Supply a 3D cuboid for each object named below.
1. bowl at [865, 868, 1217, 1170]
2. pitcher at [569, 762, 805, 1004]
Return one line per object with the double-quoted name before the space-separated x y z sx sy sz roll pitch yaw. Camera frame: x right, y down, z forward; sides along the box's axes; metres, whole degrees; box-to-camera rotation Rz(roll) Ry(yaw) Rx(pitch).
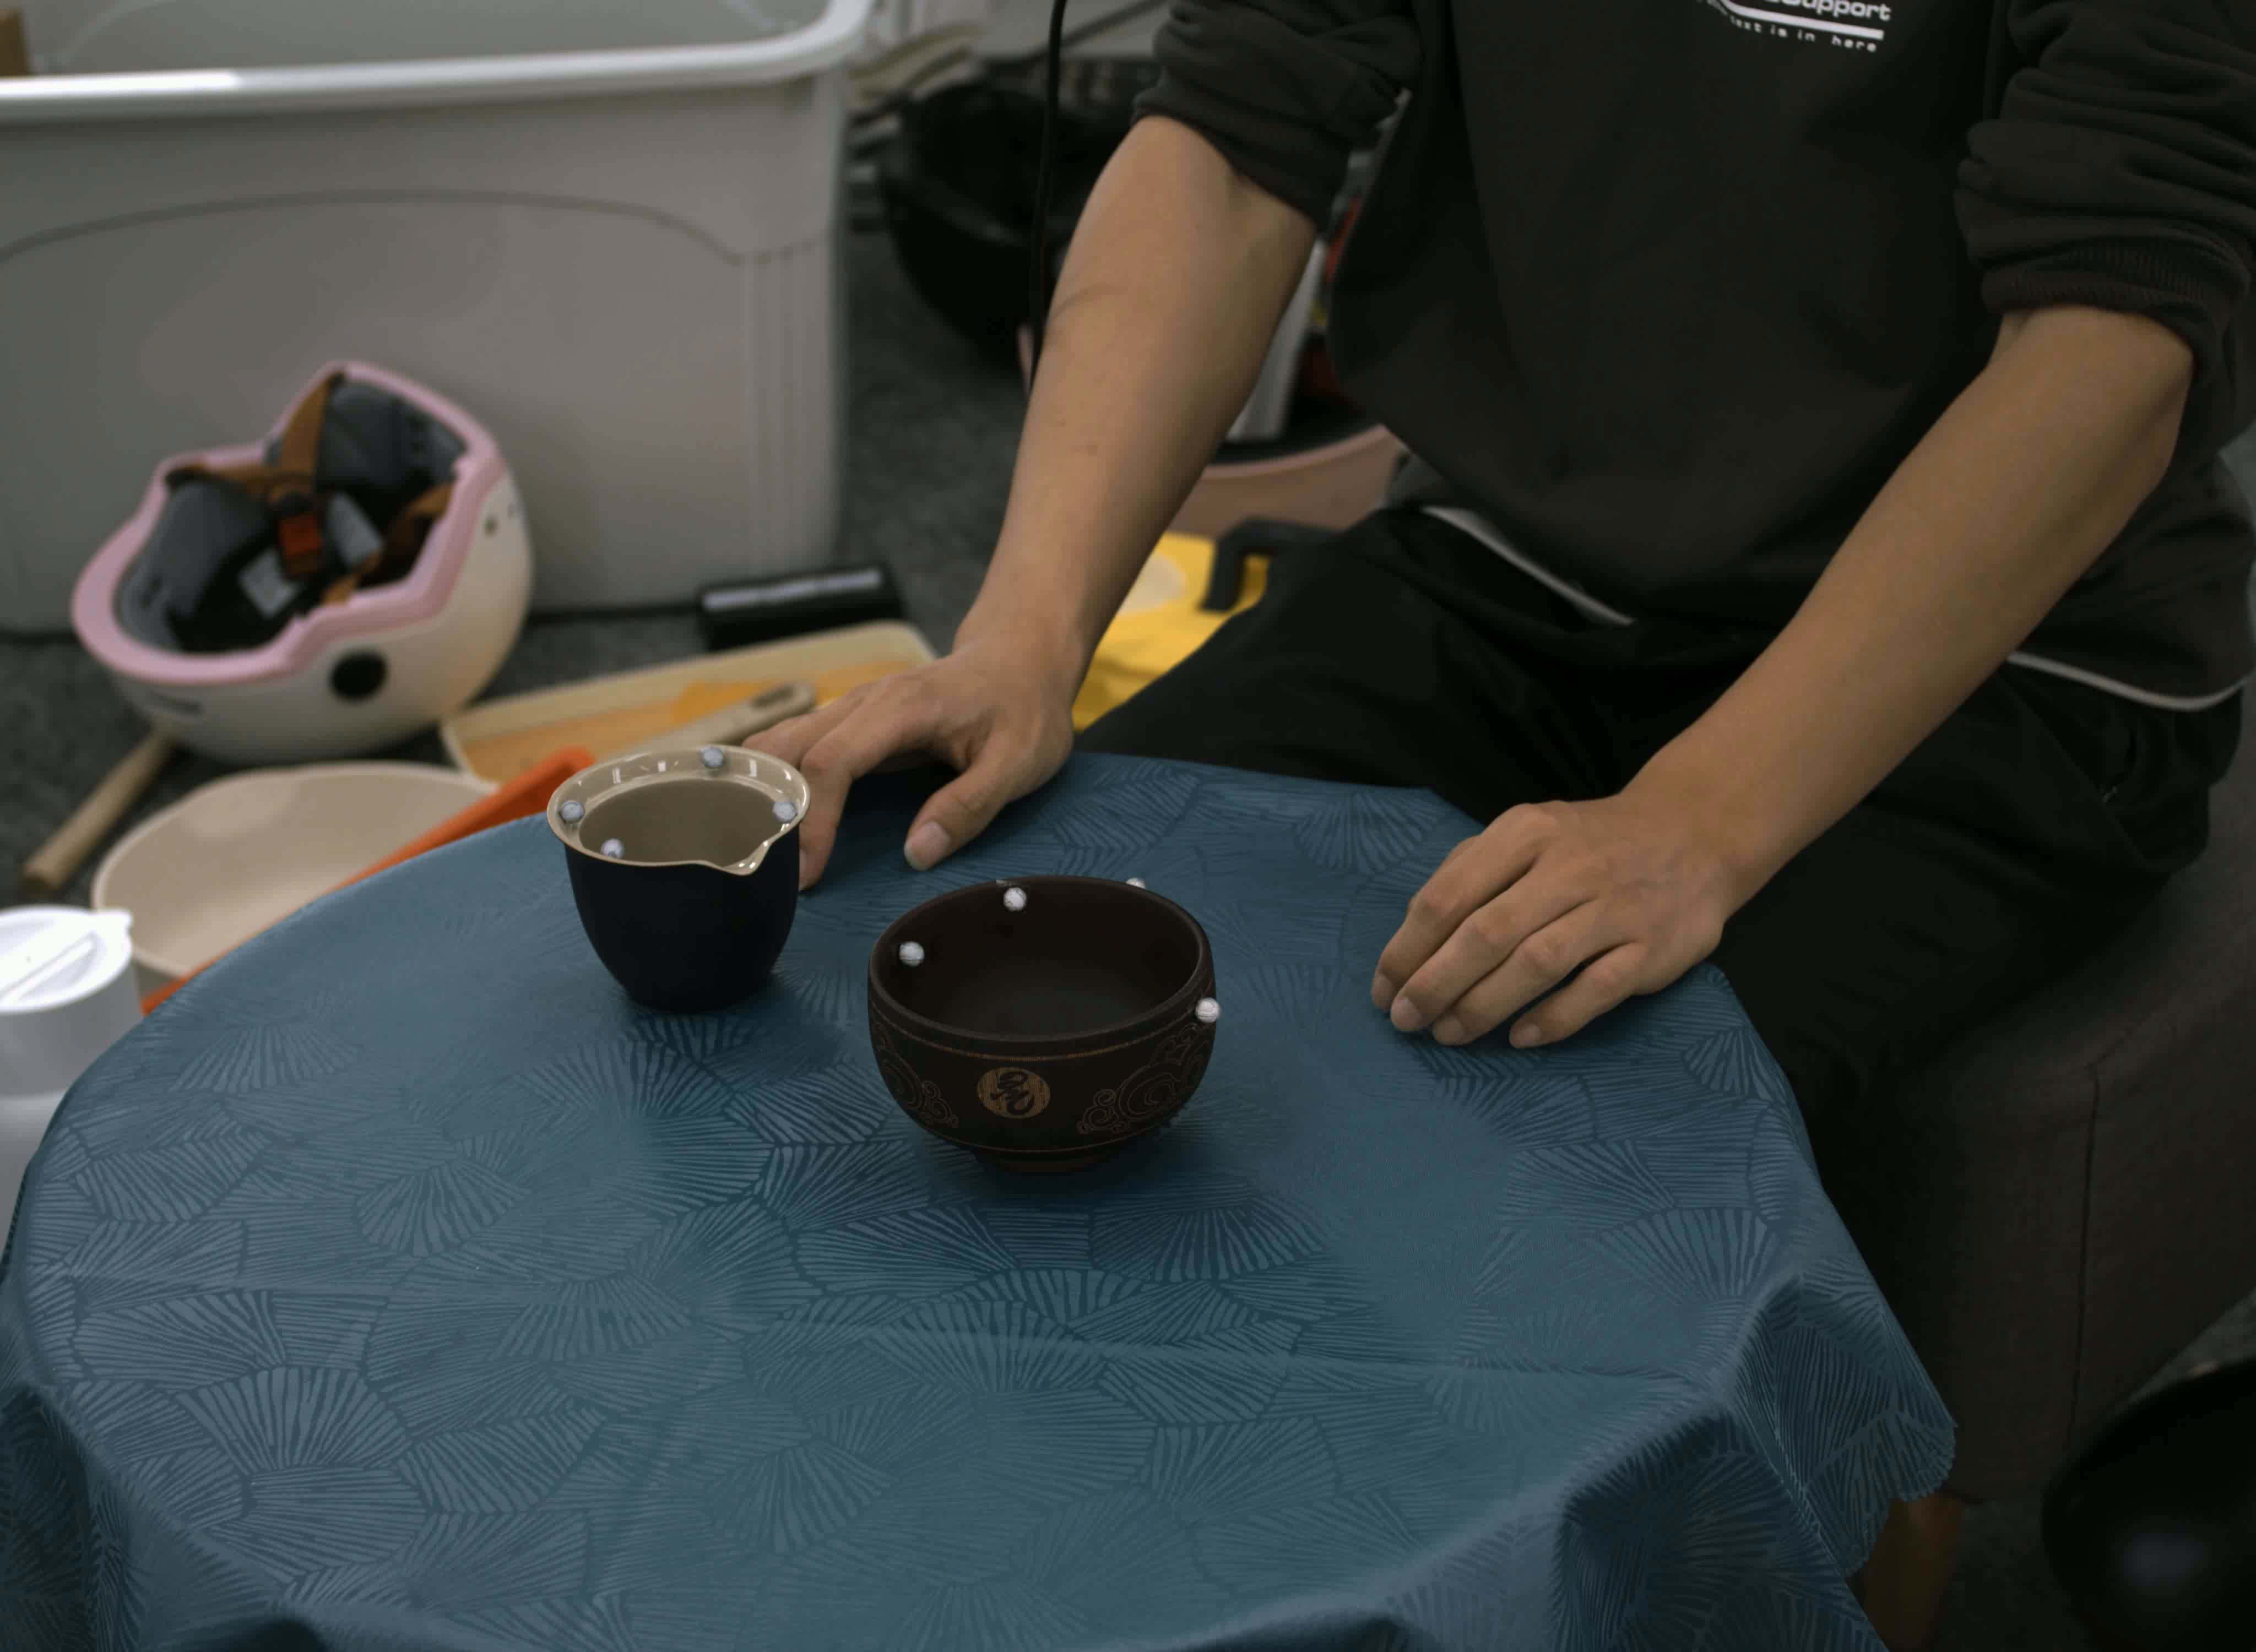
"bowl" -0.028 0.072 1.887 0.117 0.069 0.120 -3 28 2
"pitcher" -0.153 0.023 1.988 0.084 0.070 0.096 -11 27 -20
